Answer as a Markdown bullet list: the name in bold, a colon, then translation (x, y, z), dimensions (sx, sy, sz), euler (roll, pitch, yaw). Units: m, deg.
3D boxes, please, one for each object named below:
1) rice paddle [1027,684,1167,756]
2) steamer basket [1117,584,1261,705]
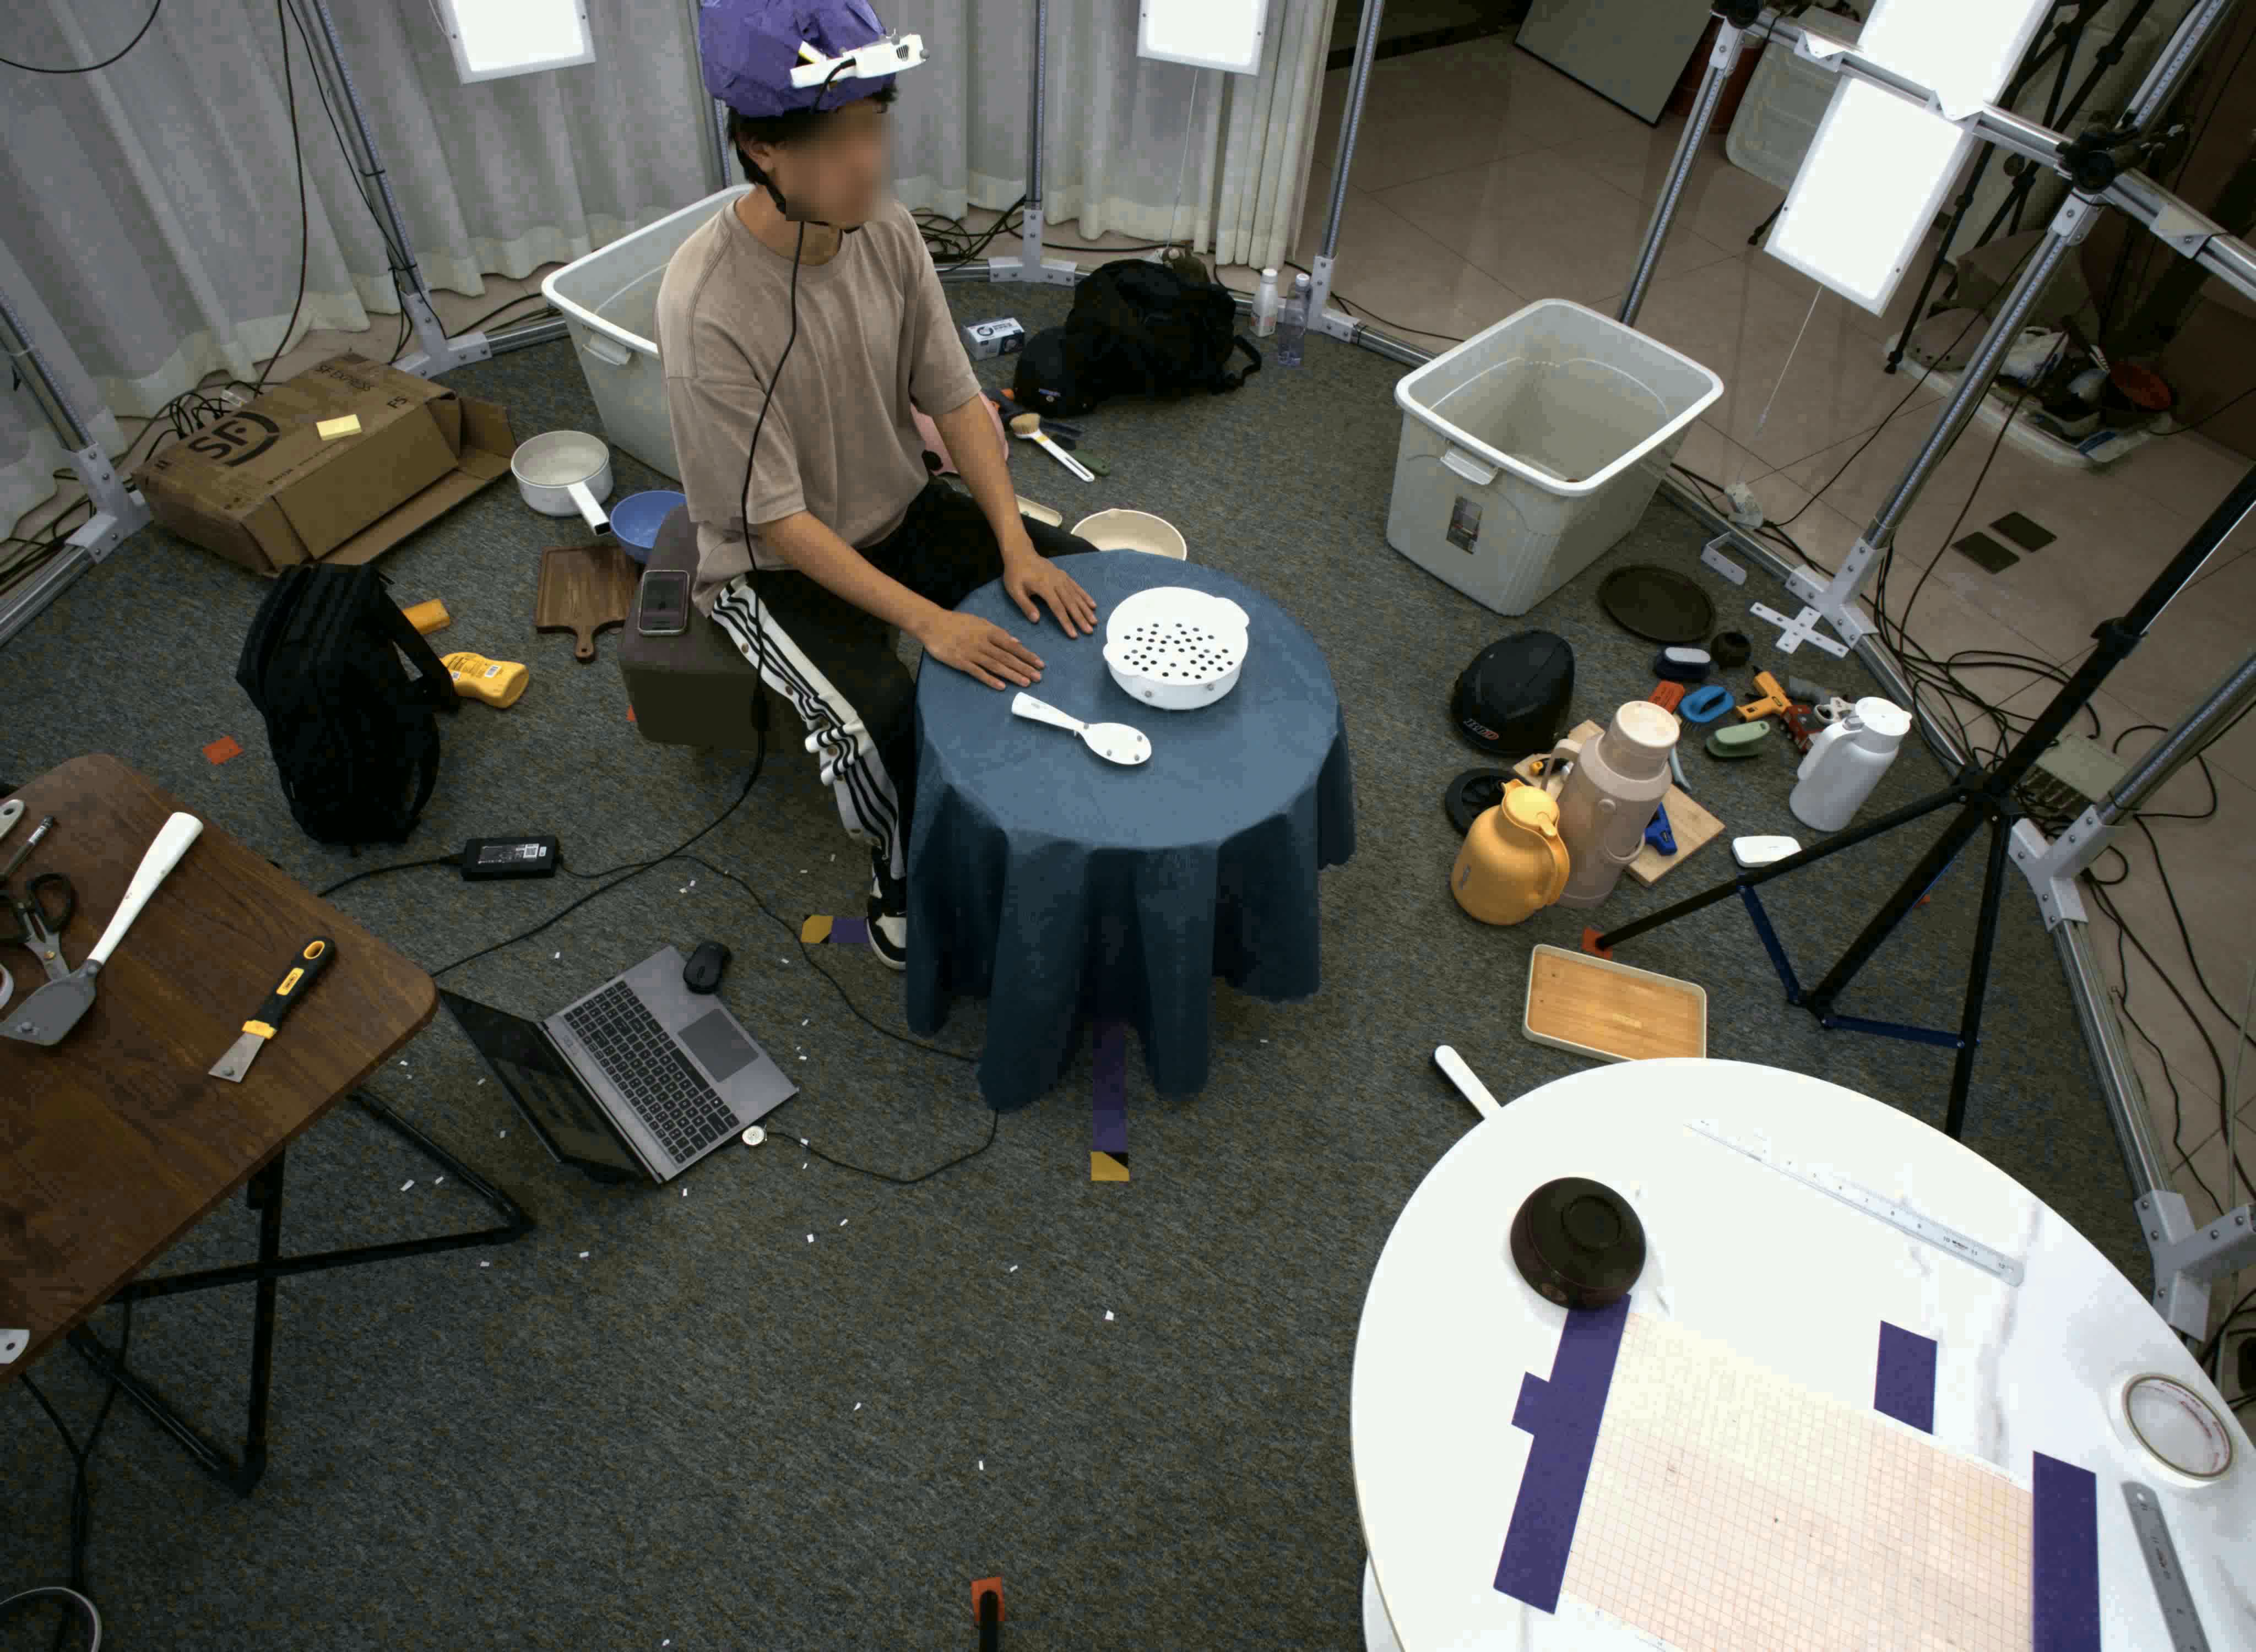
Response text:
- **rice paddle**: translation (-0.041, -0.146, 1.755), dimensions (0.206, 0.029, 0.070), euler (22, 52, 14)
- **steamer basket**: translation (0.086, -0.260, 1.845), dimensions (0.231, 0.067, 0.206), euler (-24, 56, -26)
